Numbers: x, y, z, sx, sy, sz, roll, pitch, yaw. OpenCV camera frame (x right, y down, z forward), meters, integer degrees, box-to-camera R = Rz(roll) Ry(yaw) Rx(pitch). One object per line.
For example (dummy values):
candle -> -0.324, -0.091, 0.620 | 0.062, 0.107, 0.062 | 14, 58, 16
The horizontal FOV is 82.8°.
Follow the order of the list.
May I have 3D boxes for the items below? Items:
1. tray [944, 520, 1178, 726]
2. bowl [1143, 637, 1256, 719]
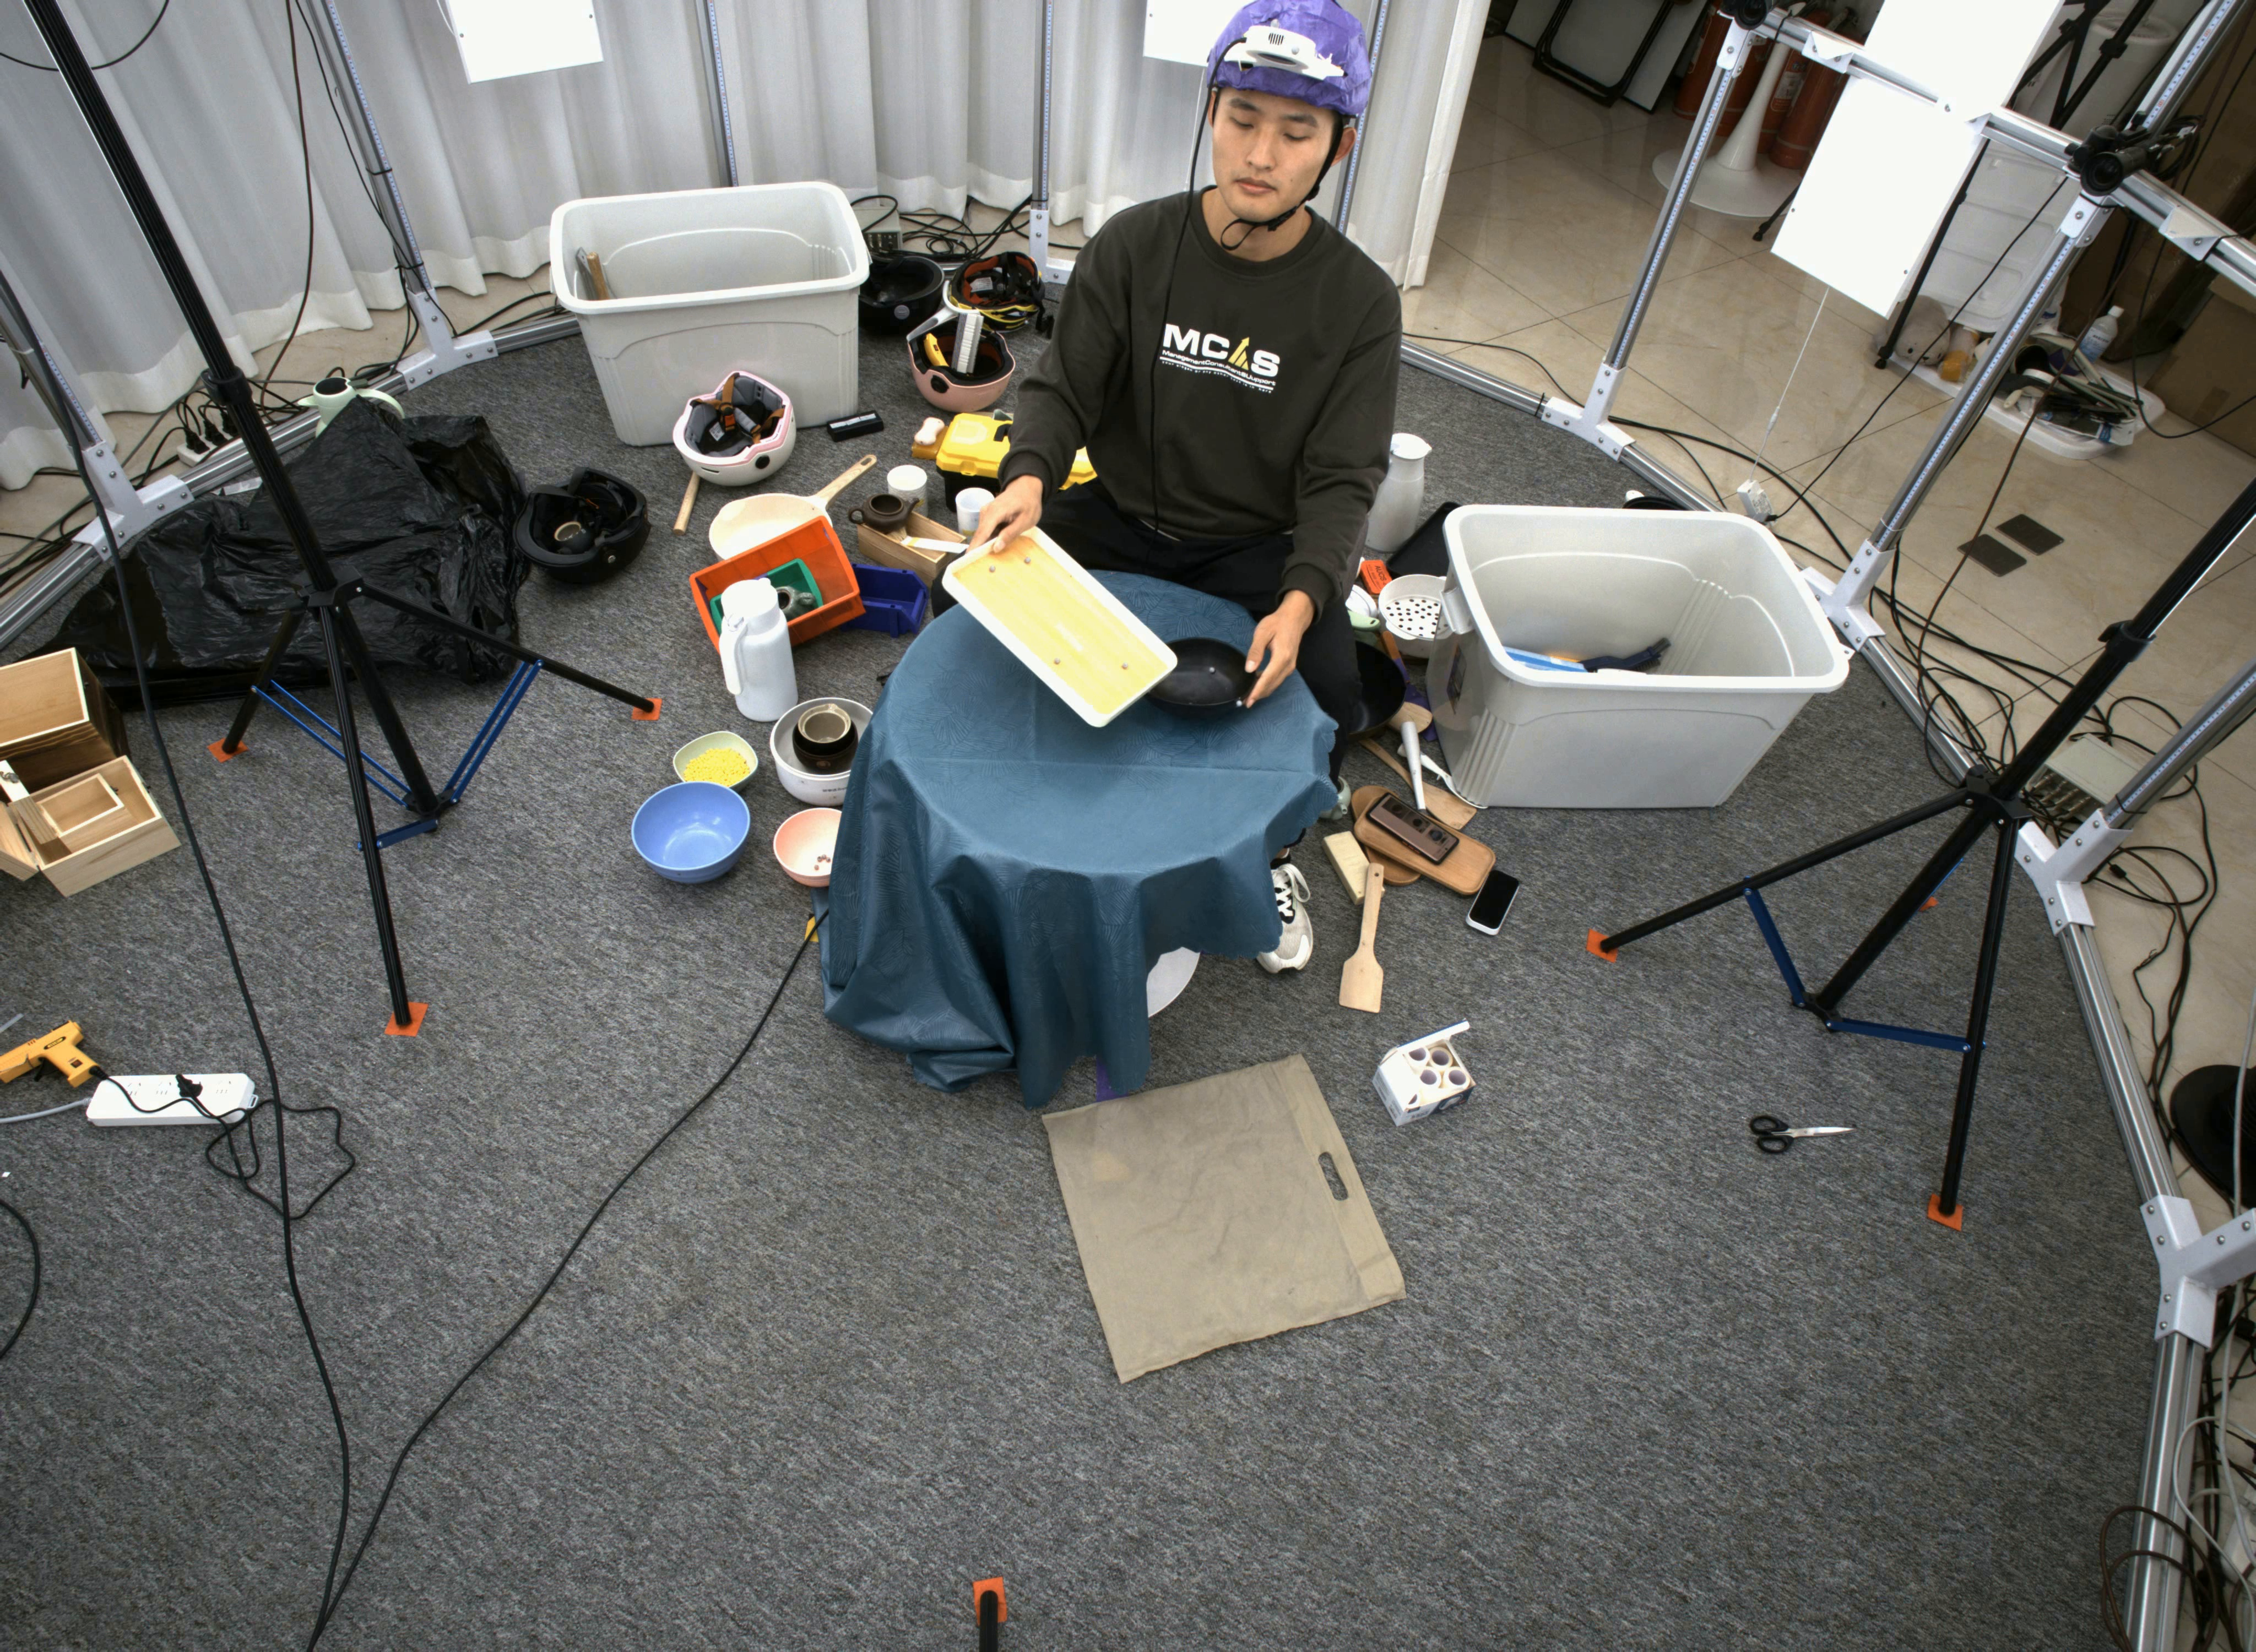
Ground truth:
tray -> -0.088, -0.280, 1.750 | 0.302, 0.027, 0.194 | 44, 48, 7
bowl -> 0.093, -0.195, 1.801 | 0.170, 0.065, 0.141 | -1, 48, 0
